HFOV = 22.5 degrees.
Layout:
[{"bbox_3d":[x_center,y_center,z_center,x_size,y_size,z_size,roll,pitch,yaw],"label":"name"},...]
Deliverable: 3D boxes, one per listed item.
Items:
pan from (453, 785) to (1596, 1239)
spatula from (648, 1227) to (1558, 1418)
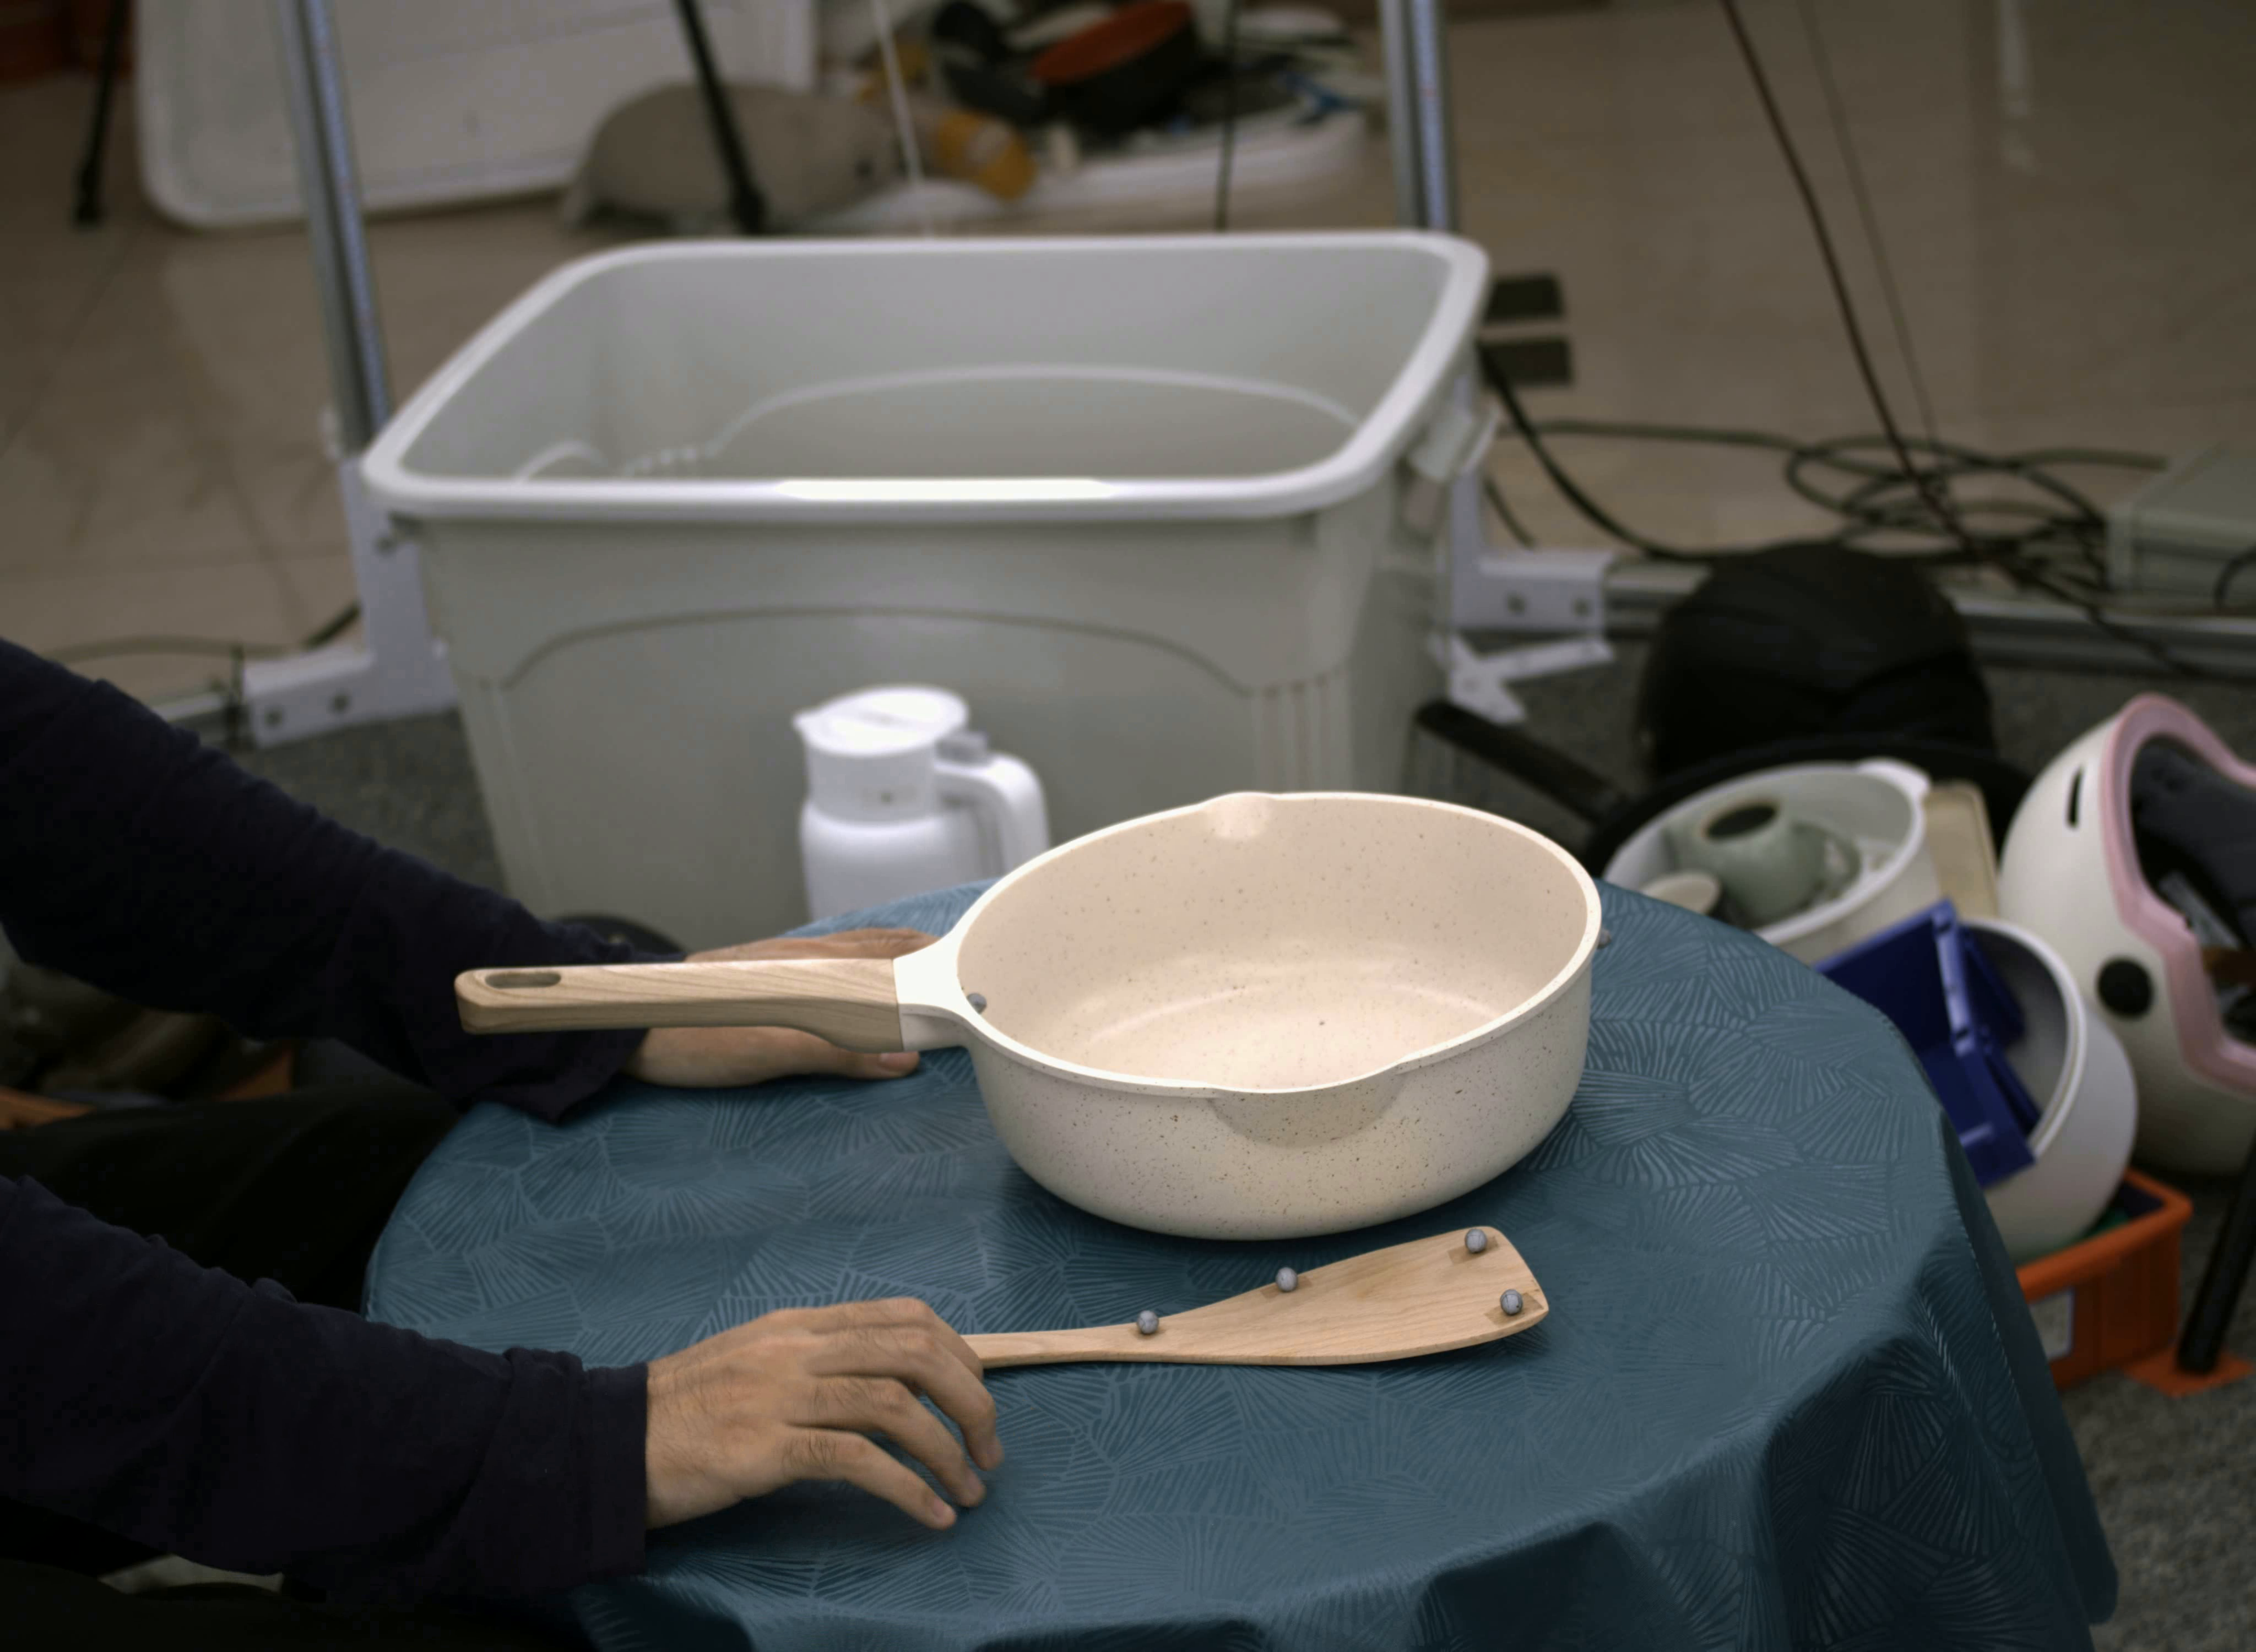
[{"bbox_3d":[-0.035,0.081,2.166,0.434,0.103,0.259,-8,26,-3],"label":"pan"},{"bbox_3d":[-0.011,0.183,2.041,0.327,0.017,0.079,-7,25,0],"label":"spatula"}]
